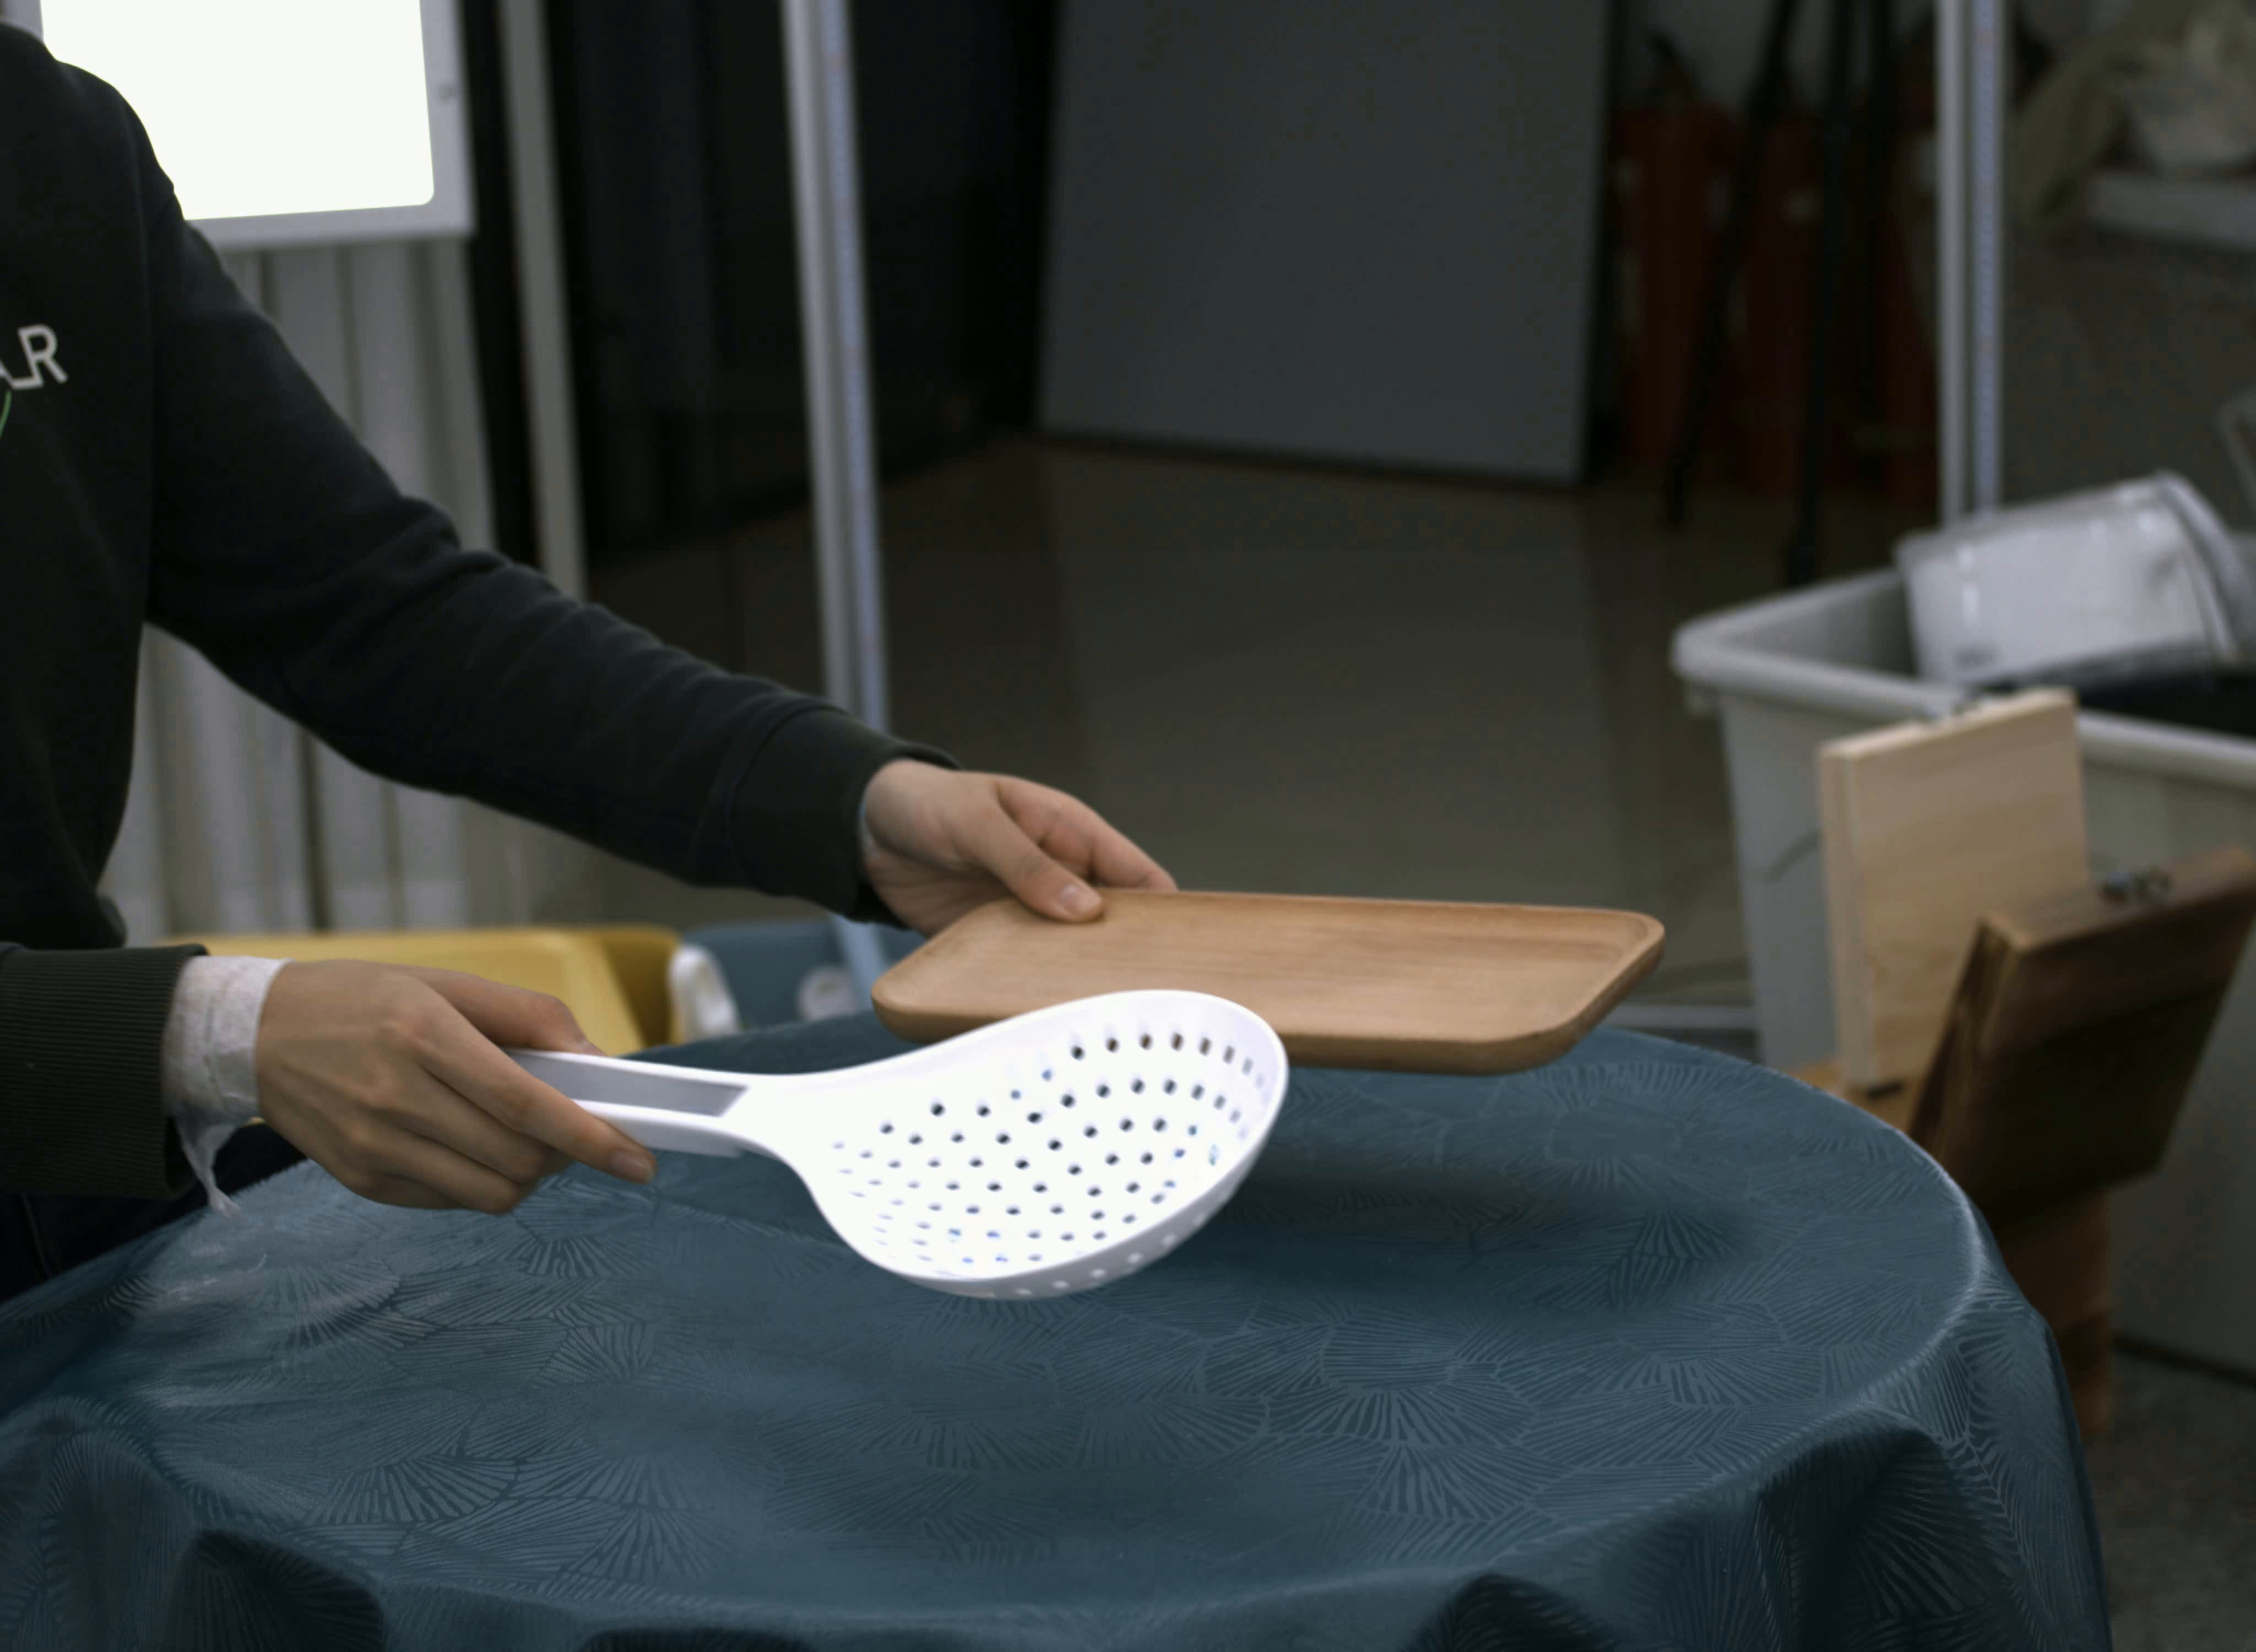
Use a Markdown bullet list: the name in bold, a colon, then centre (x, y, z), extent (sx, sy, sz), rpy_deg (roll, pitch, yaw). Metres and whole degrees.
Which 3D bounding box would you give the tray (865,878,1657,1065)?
- **tray**: centre (0.043, 0.046, 1.749), extent (0.251, 0.023, 0.129), rpy_deg (1, 16, 29)

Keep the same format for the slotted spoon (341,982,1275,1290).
- **slotted spoon**: centre (-0.104, 0.084, 1.591), extent (0.352, 0.046, 0.135), rpy_deg (8, 38, 37)
